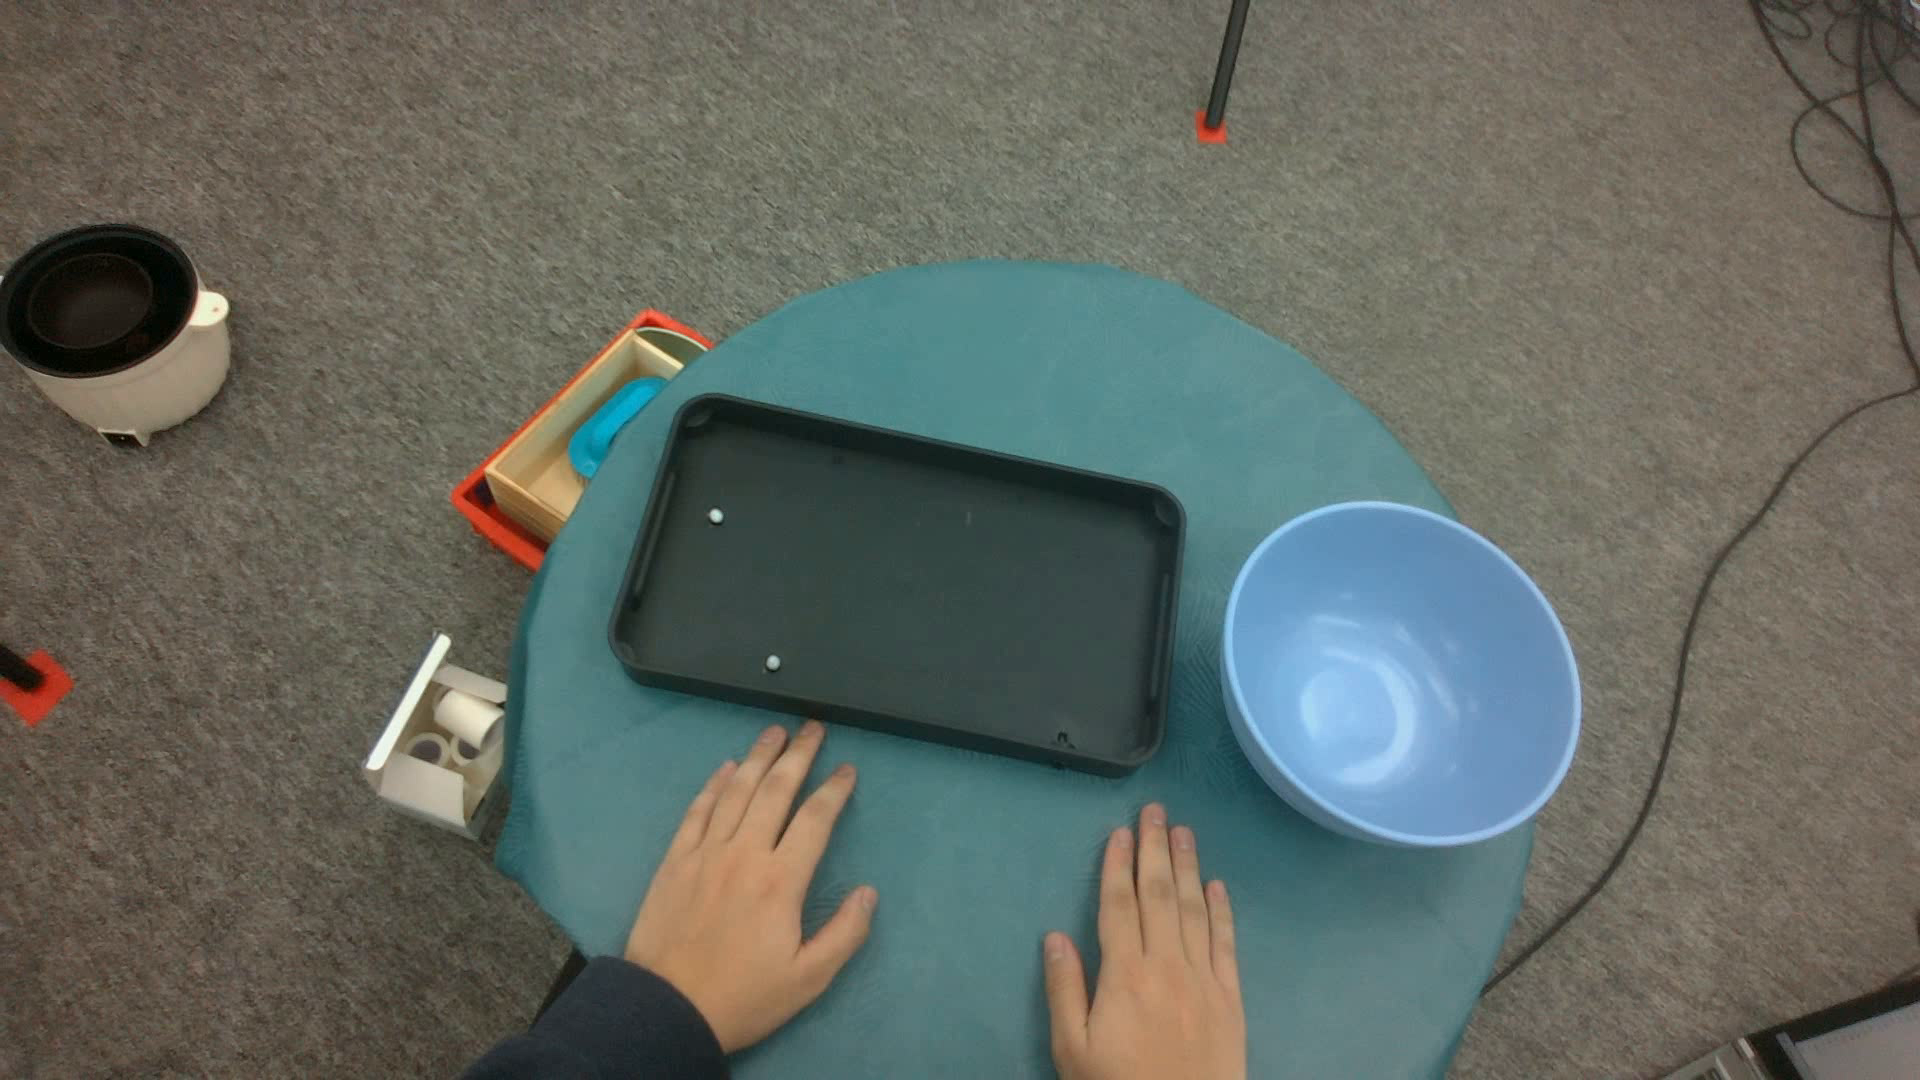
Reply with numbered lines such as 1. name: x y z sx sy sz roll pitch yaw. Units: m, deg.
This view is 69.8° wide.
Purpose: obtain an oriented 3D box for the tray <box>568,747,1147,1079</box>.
1. tray: -0.060 0.220 0.810 0.318 0.037 0.185 -4 49 -3

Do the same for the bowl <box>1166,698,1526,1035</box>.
1. bowl: 0.210 0.198 0.790 0.196 0.095 0.197 1 48 -1
